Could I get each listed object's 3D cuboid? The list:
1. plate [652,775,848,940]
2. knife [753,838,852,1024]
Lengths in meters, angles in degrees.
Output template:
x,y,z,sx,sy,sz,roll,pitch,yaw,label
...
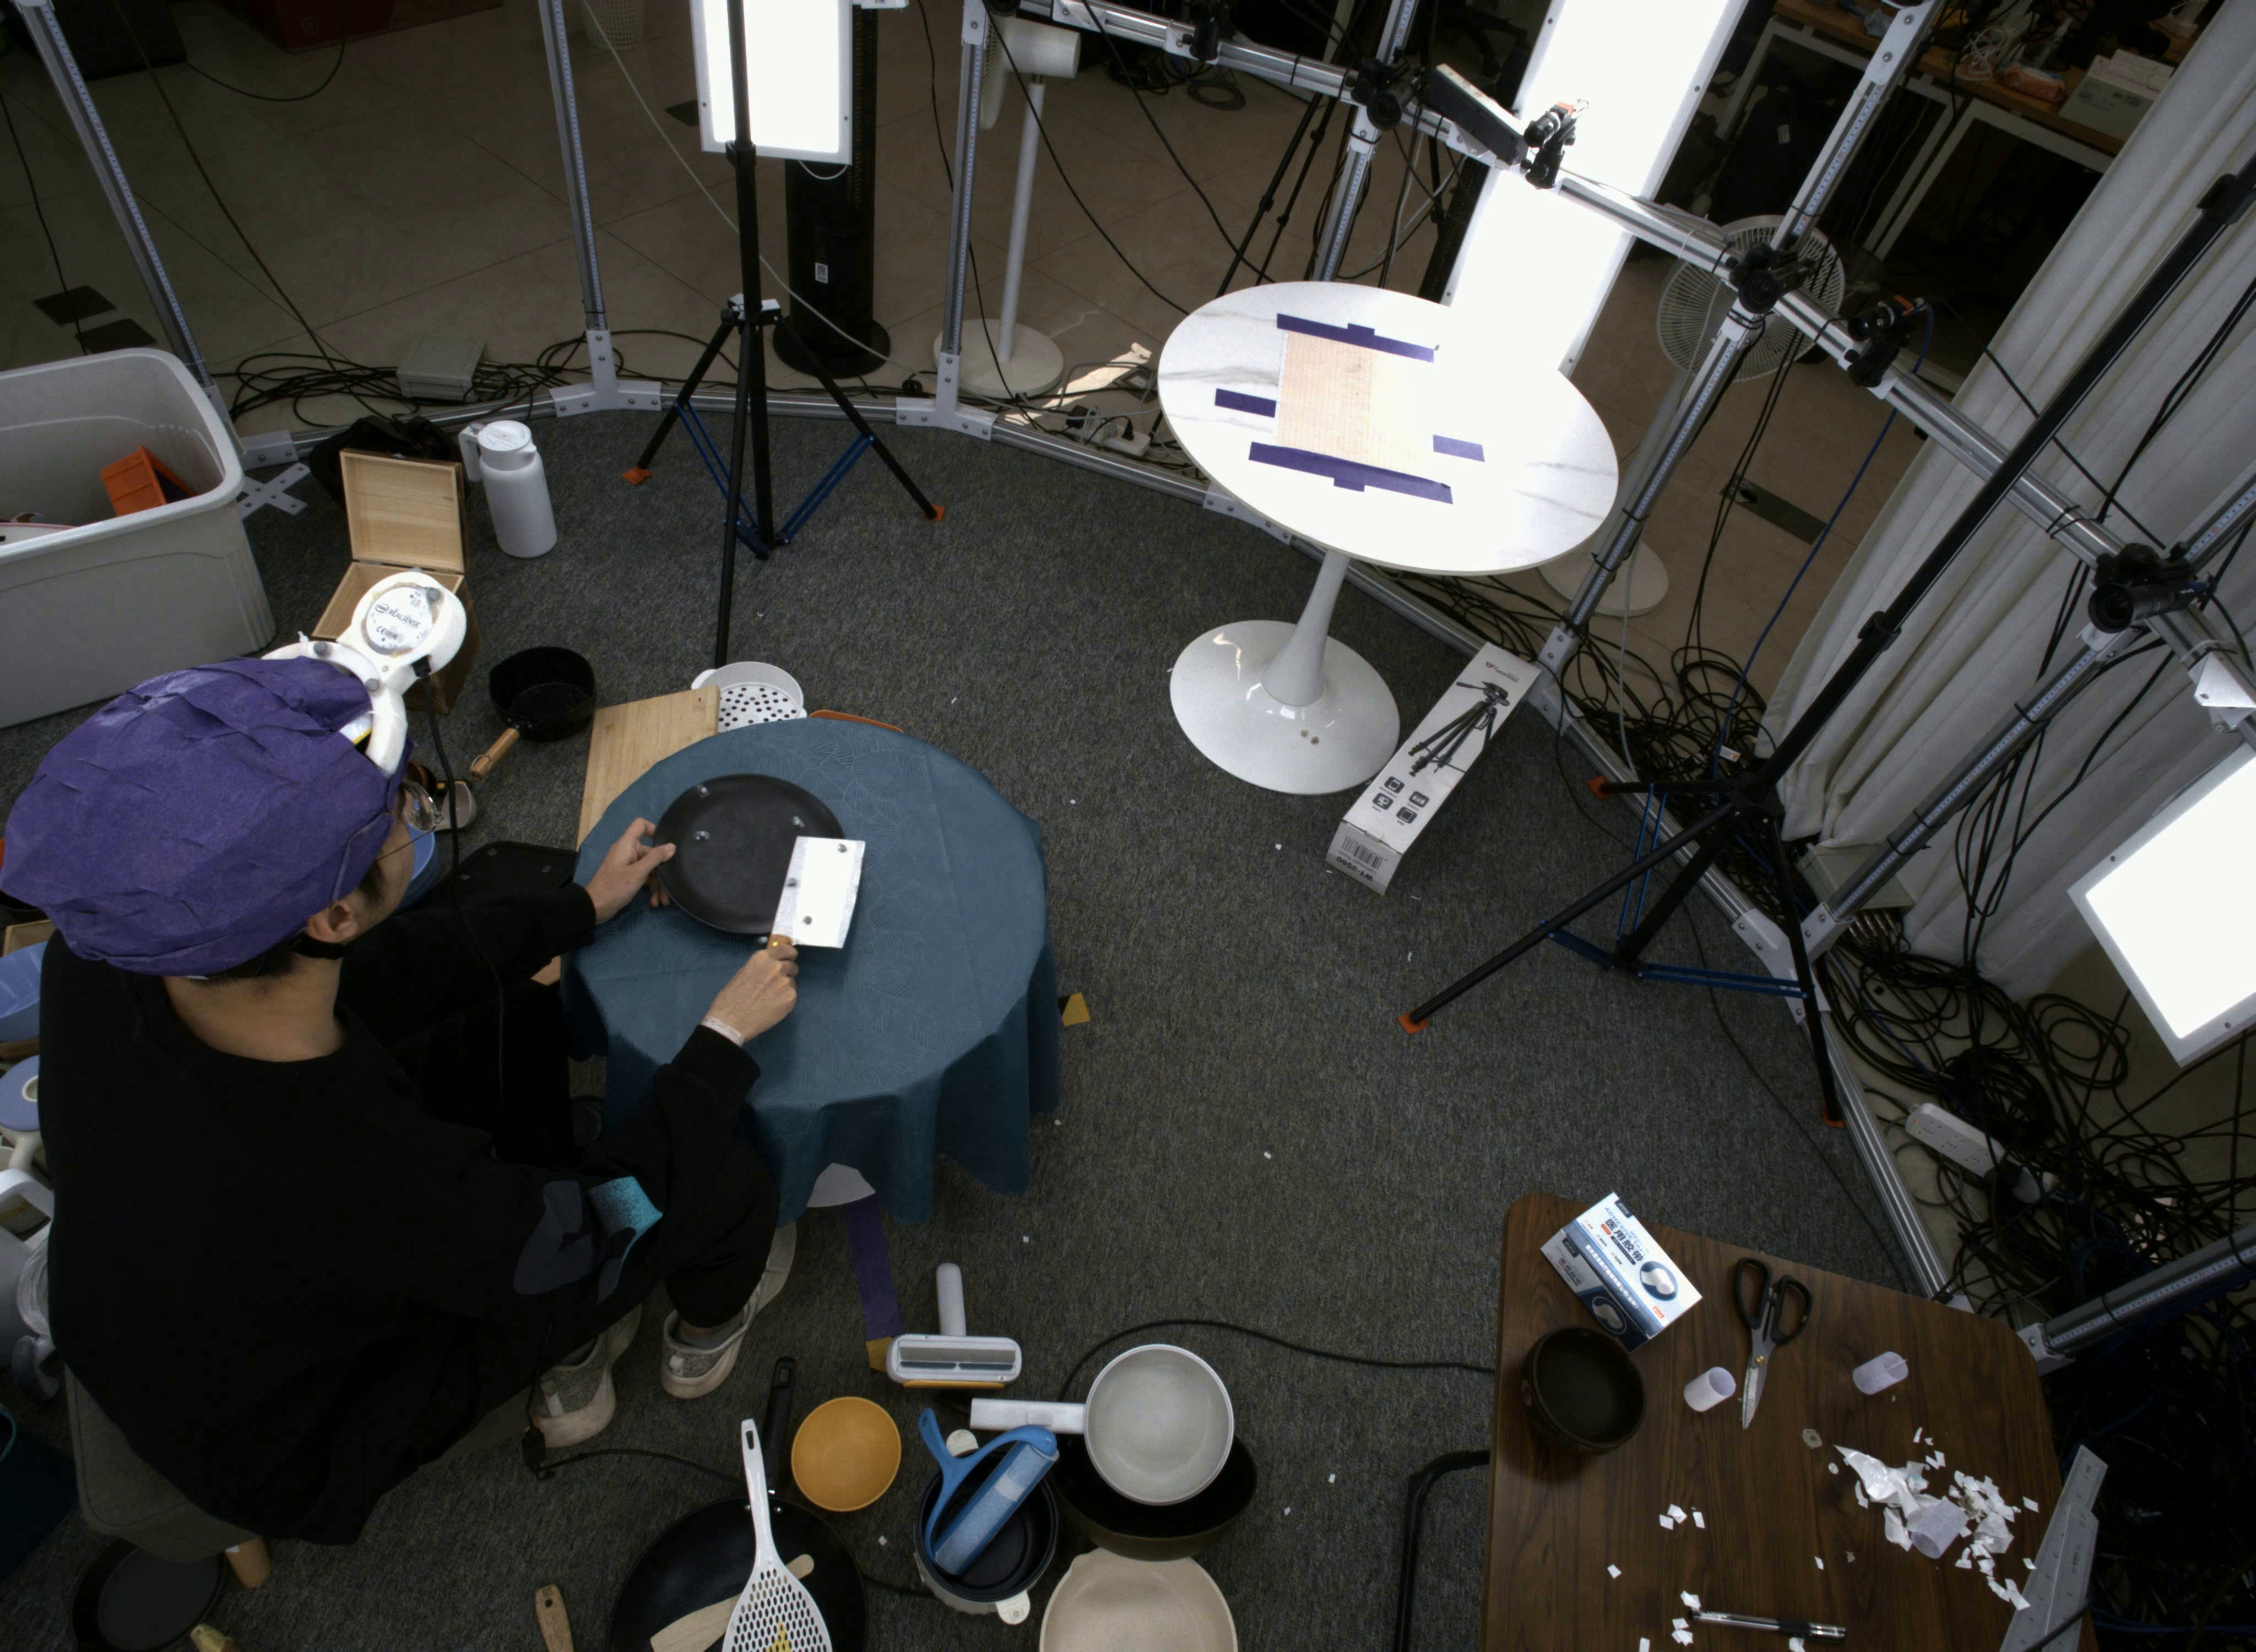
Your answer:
x,y,z,sx,sy,sz,roll,pitch,yaw,label
-0.478,0.038,1.639,0.246,0.023,0.240,13,54,-16,plate
-0.390,0.118,1.578,0.092,0.021,0.299,6,43,-6,knife
